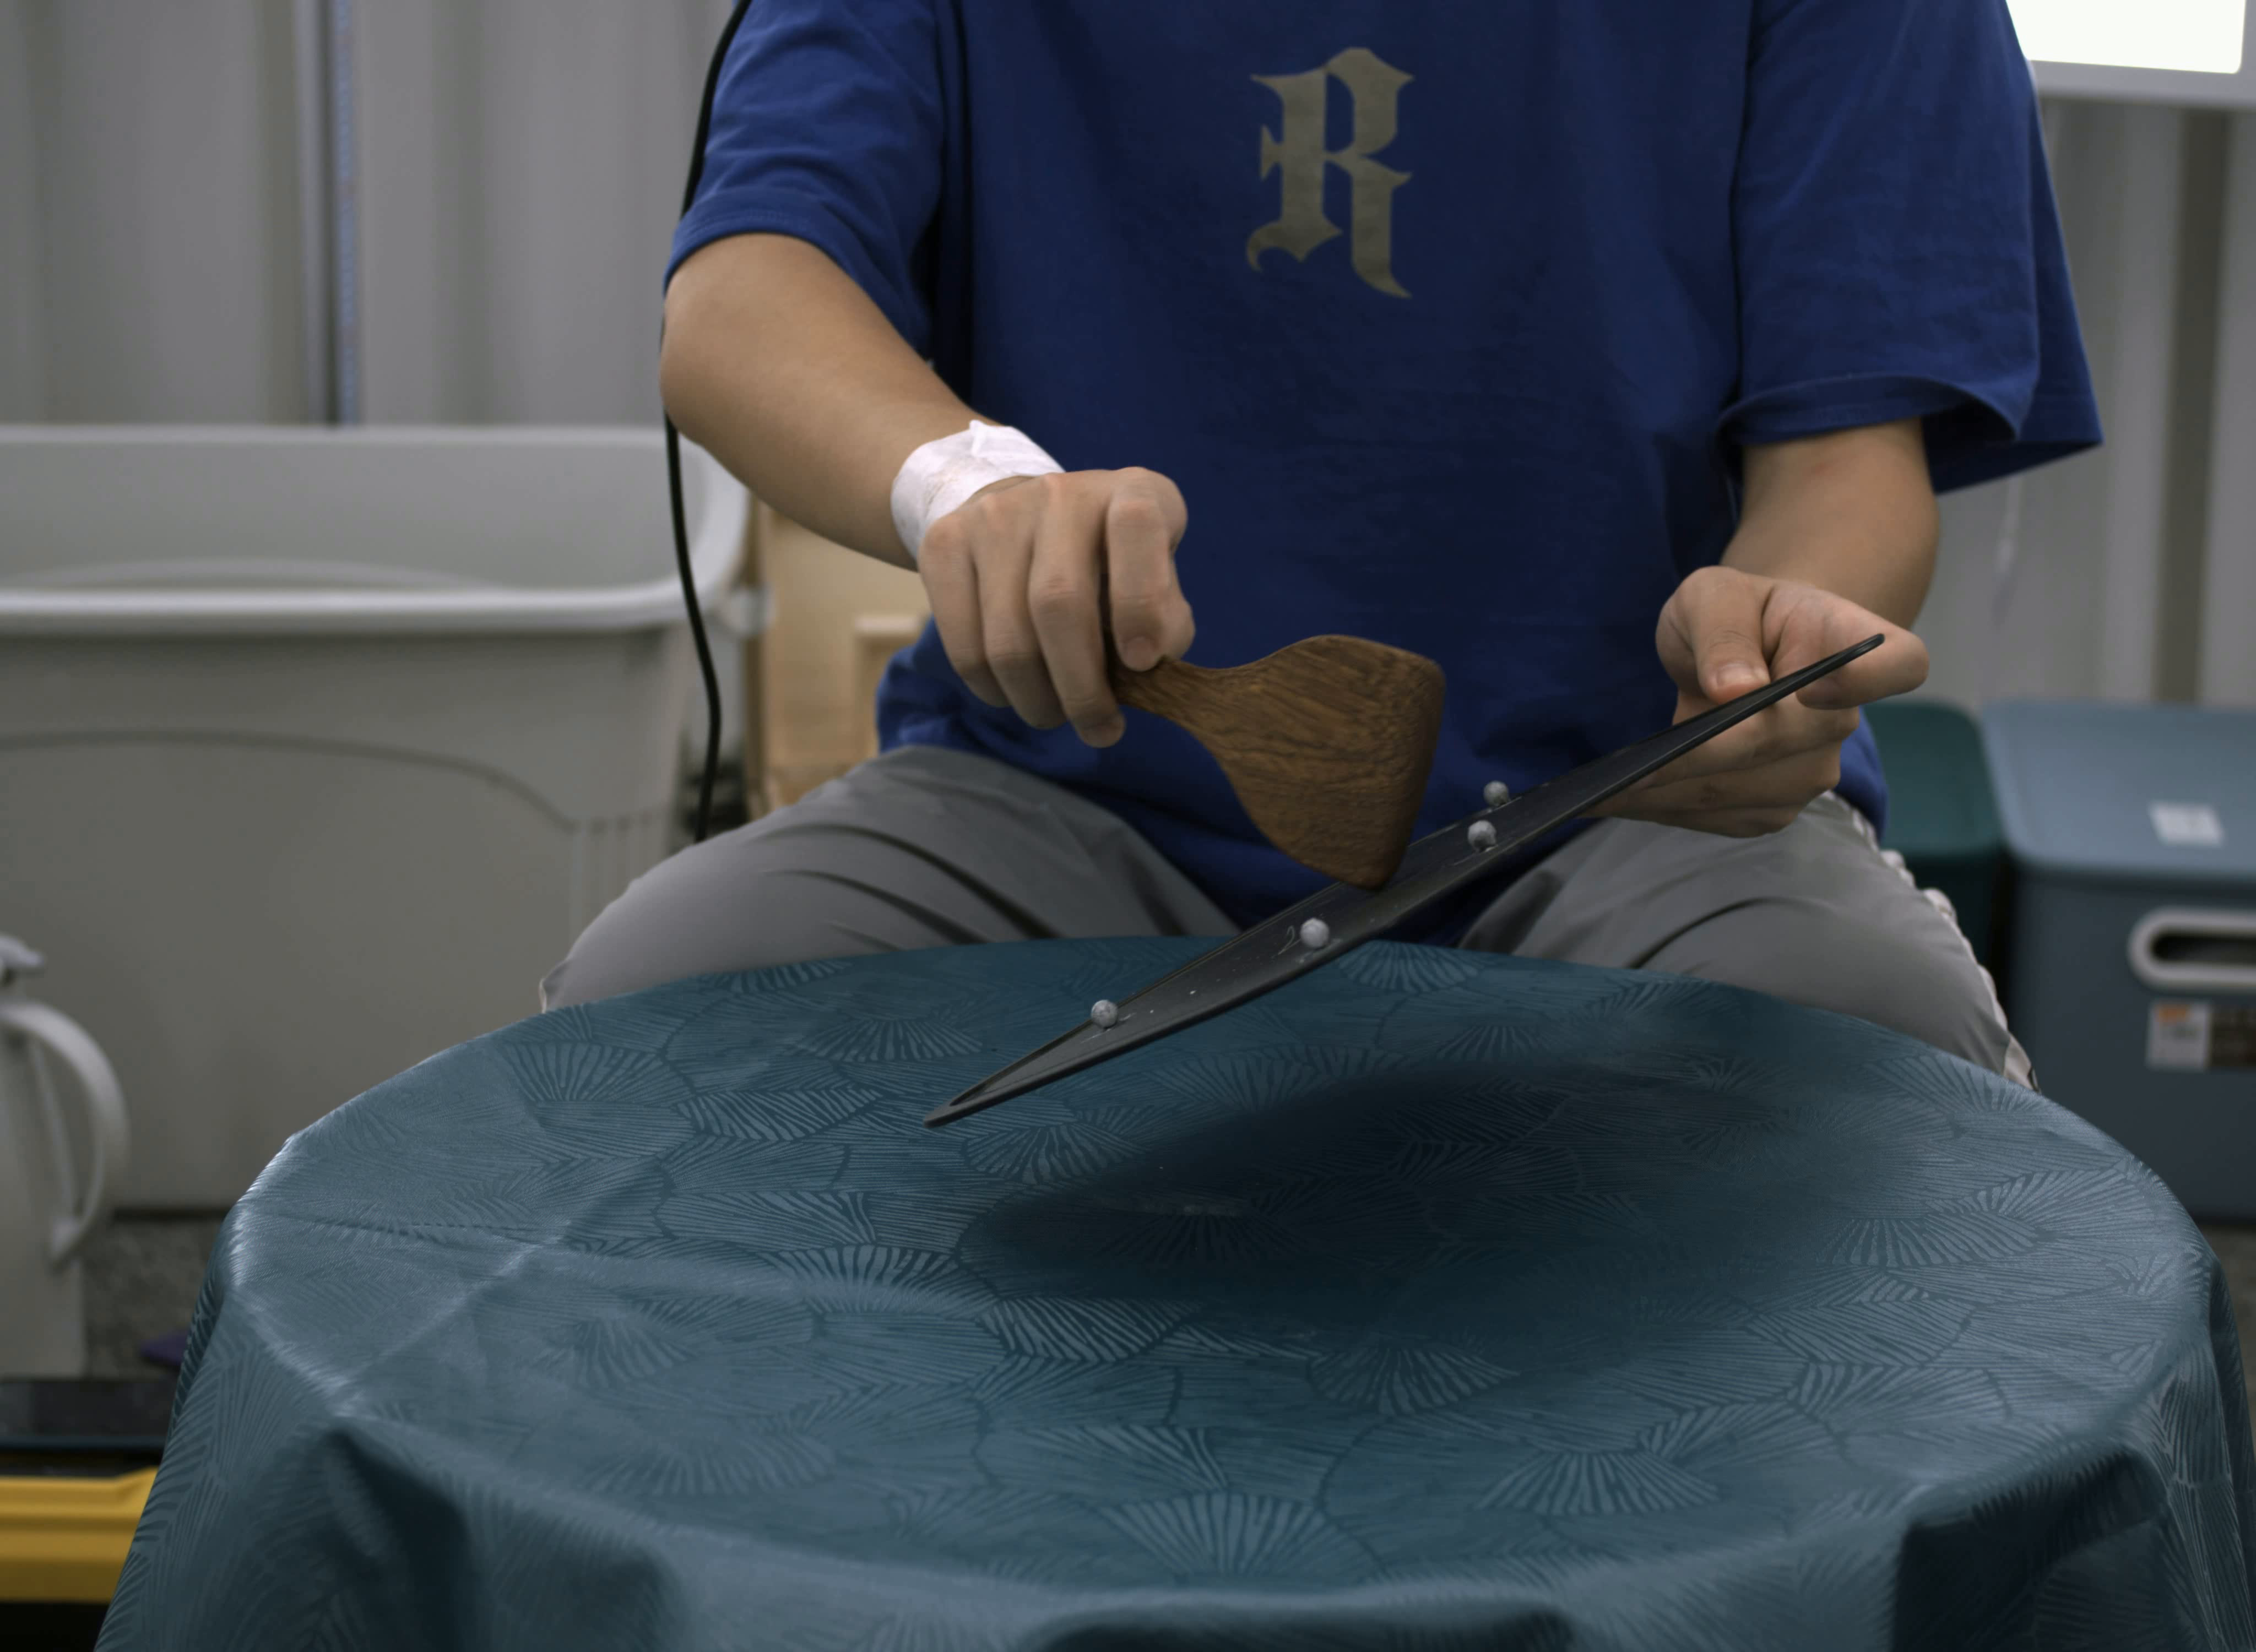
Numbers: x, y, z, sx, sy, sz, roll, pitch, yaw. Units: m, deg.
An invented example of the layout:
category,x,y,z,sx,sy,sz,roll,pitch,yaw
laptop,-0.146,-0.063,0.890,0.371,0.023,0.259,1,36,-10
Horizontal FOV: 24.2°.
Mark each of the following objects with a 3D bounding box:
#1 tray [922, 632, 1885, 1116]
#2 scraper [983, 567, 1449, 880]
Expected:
category,x,y,z,sx,sy,sz,roll,pitch,yaw
tray,0.091,0.010,1.611,0.326,0.010,0.210,-27,1,-41
scraper,0.021,-0.044,1.636,0.011,0.076,0.208,4,14,-42
